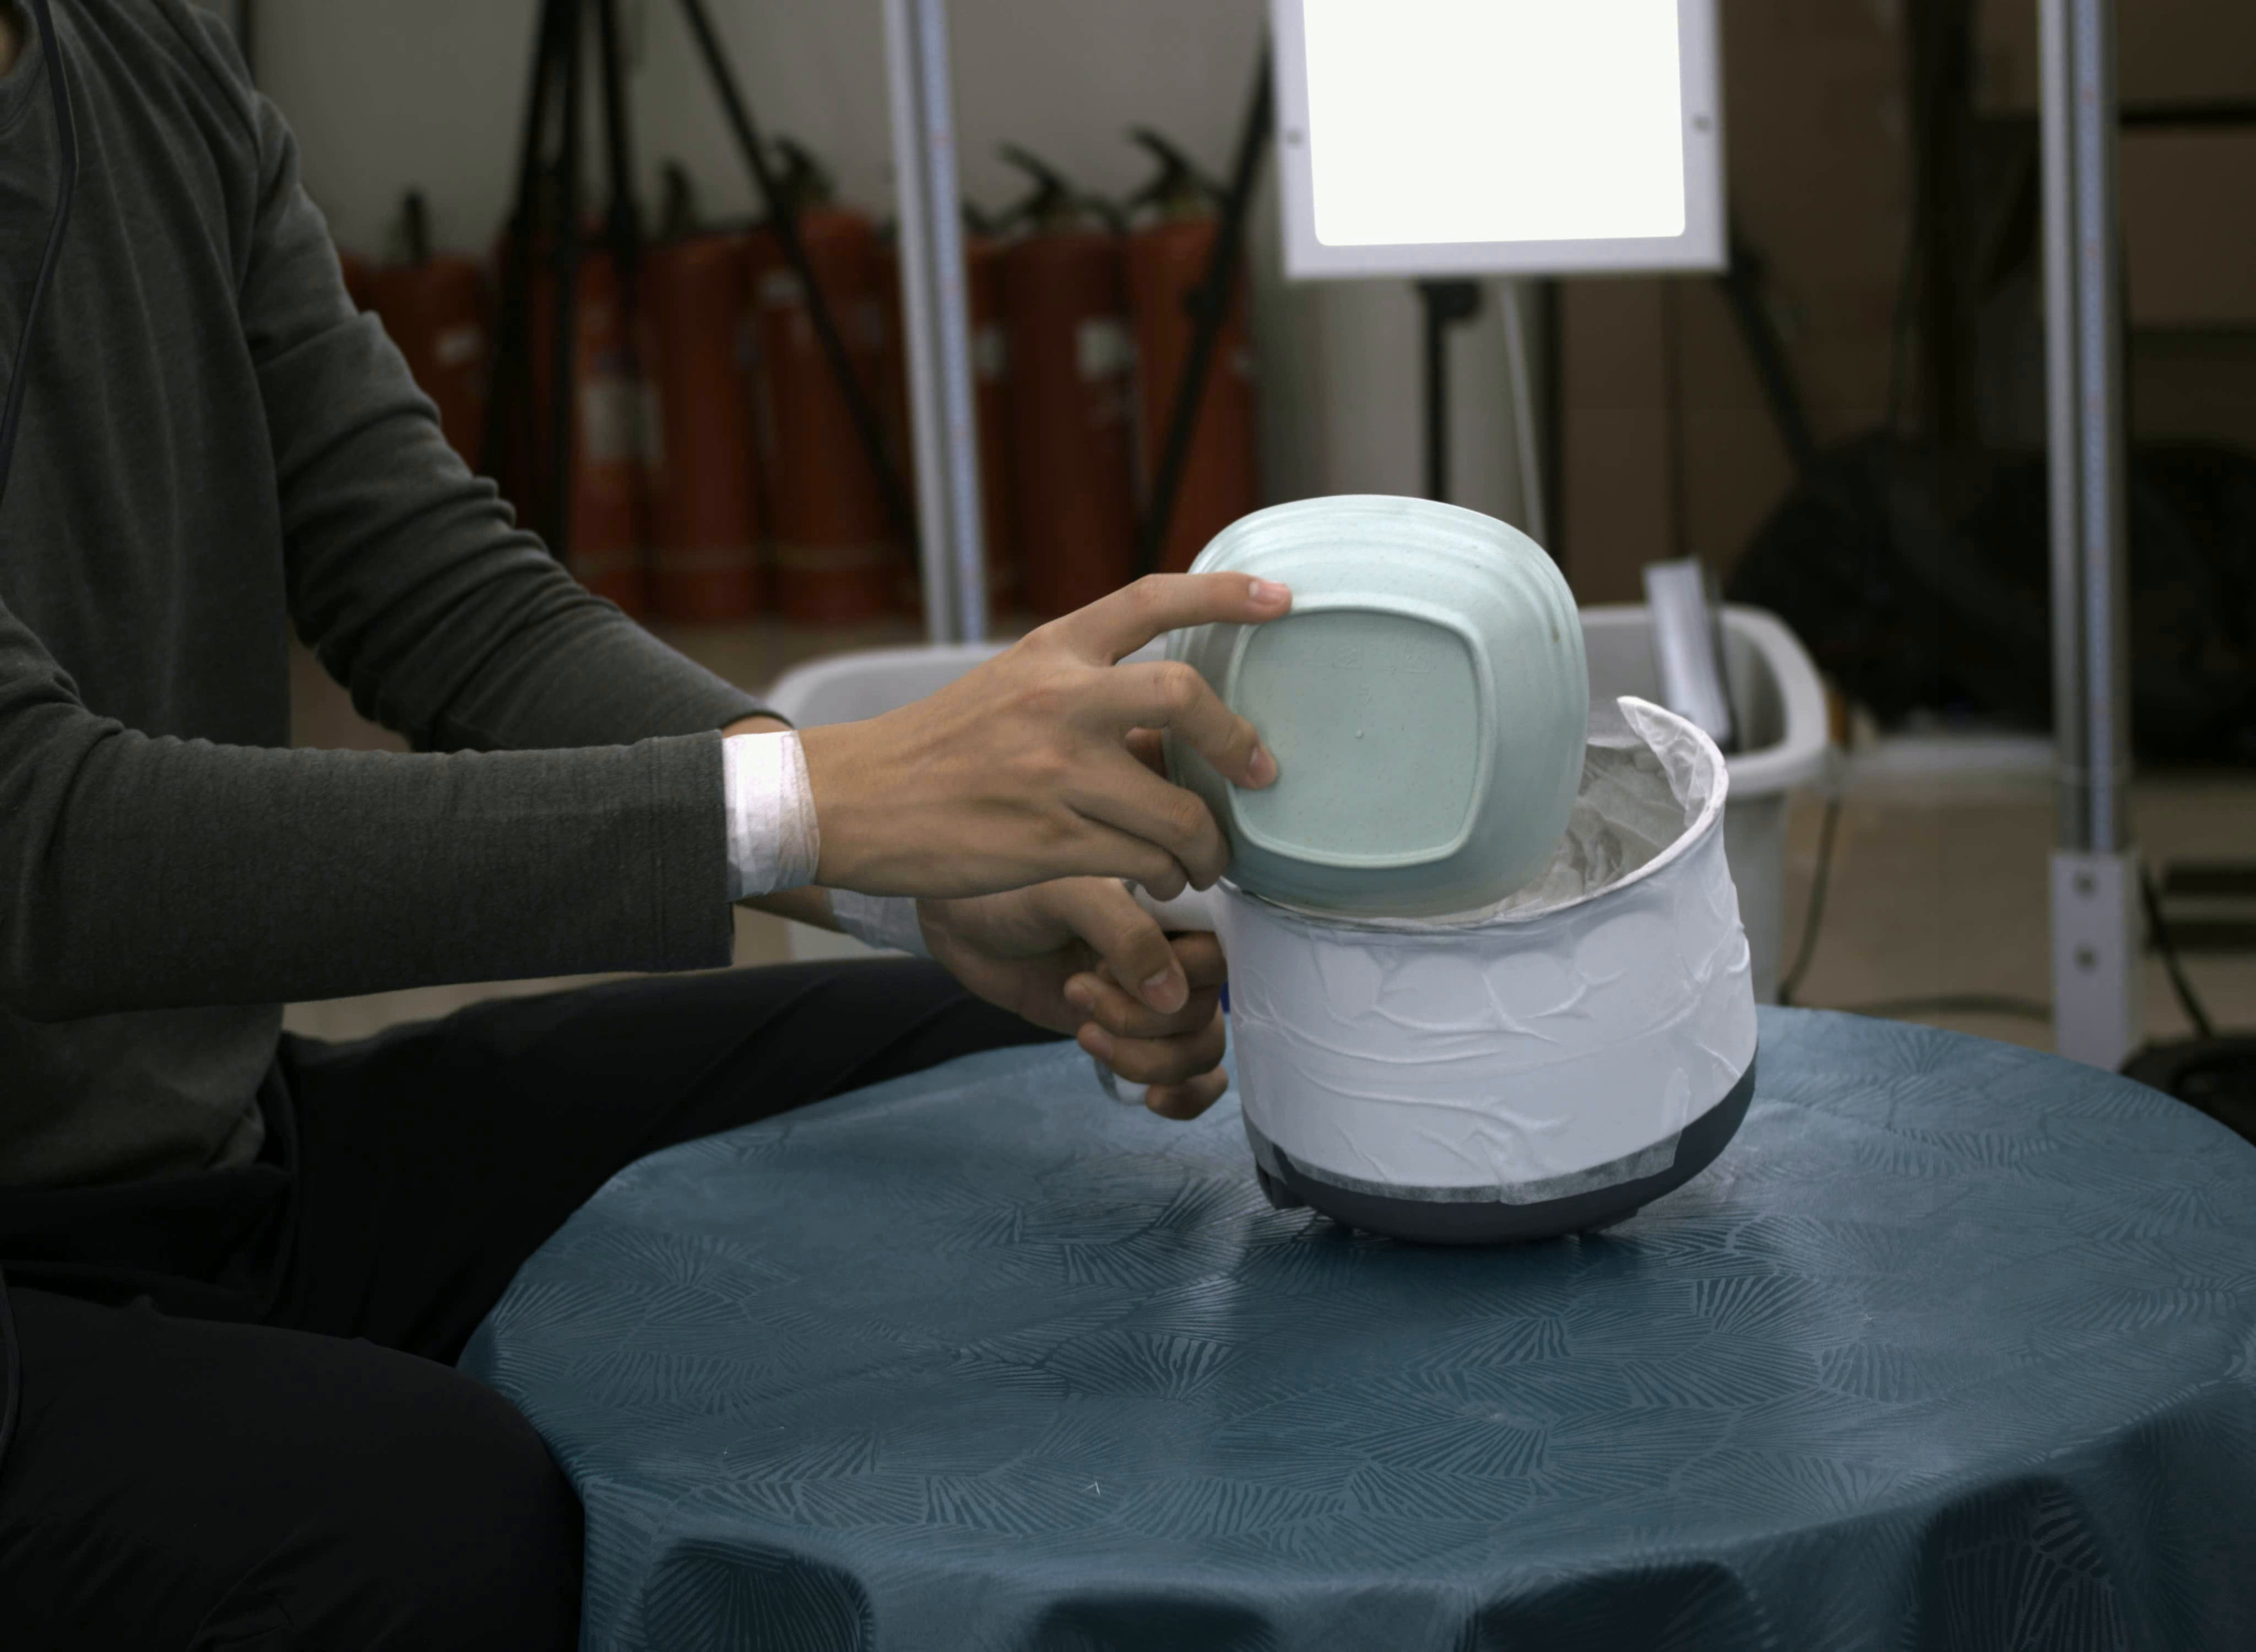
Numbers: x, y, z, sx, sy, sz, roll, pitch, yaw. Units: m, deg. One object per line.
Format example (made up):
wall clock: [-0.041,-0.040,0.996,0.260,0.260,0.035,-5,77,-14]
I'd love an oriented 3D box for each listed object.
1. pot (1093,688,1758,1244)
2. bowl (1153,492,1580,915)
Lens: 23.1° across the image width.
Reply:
pot: [0.095,0.048,1.856,0.237,0.137,0.176,1,27,21]
bowl: [0.072,-0.033,1.742,0.152,0.152,0.058,-1,12,13]
